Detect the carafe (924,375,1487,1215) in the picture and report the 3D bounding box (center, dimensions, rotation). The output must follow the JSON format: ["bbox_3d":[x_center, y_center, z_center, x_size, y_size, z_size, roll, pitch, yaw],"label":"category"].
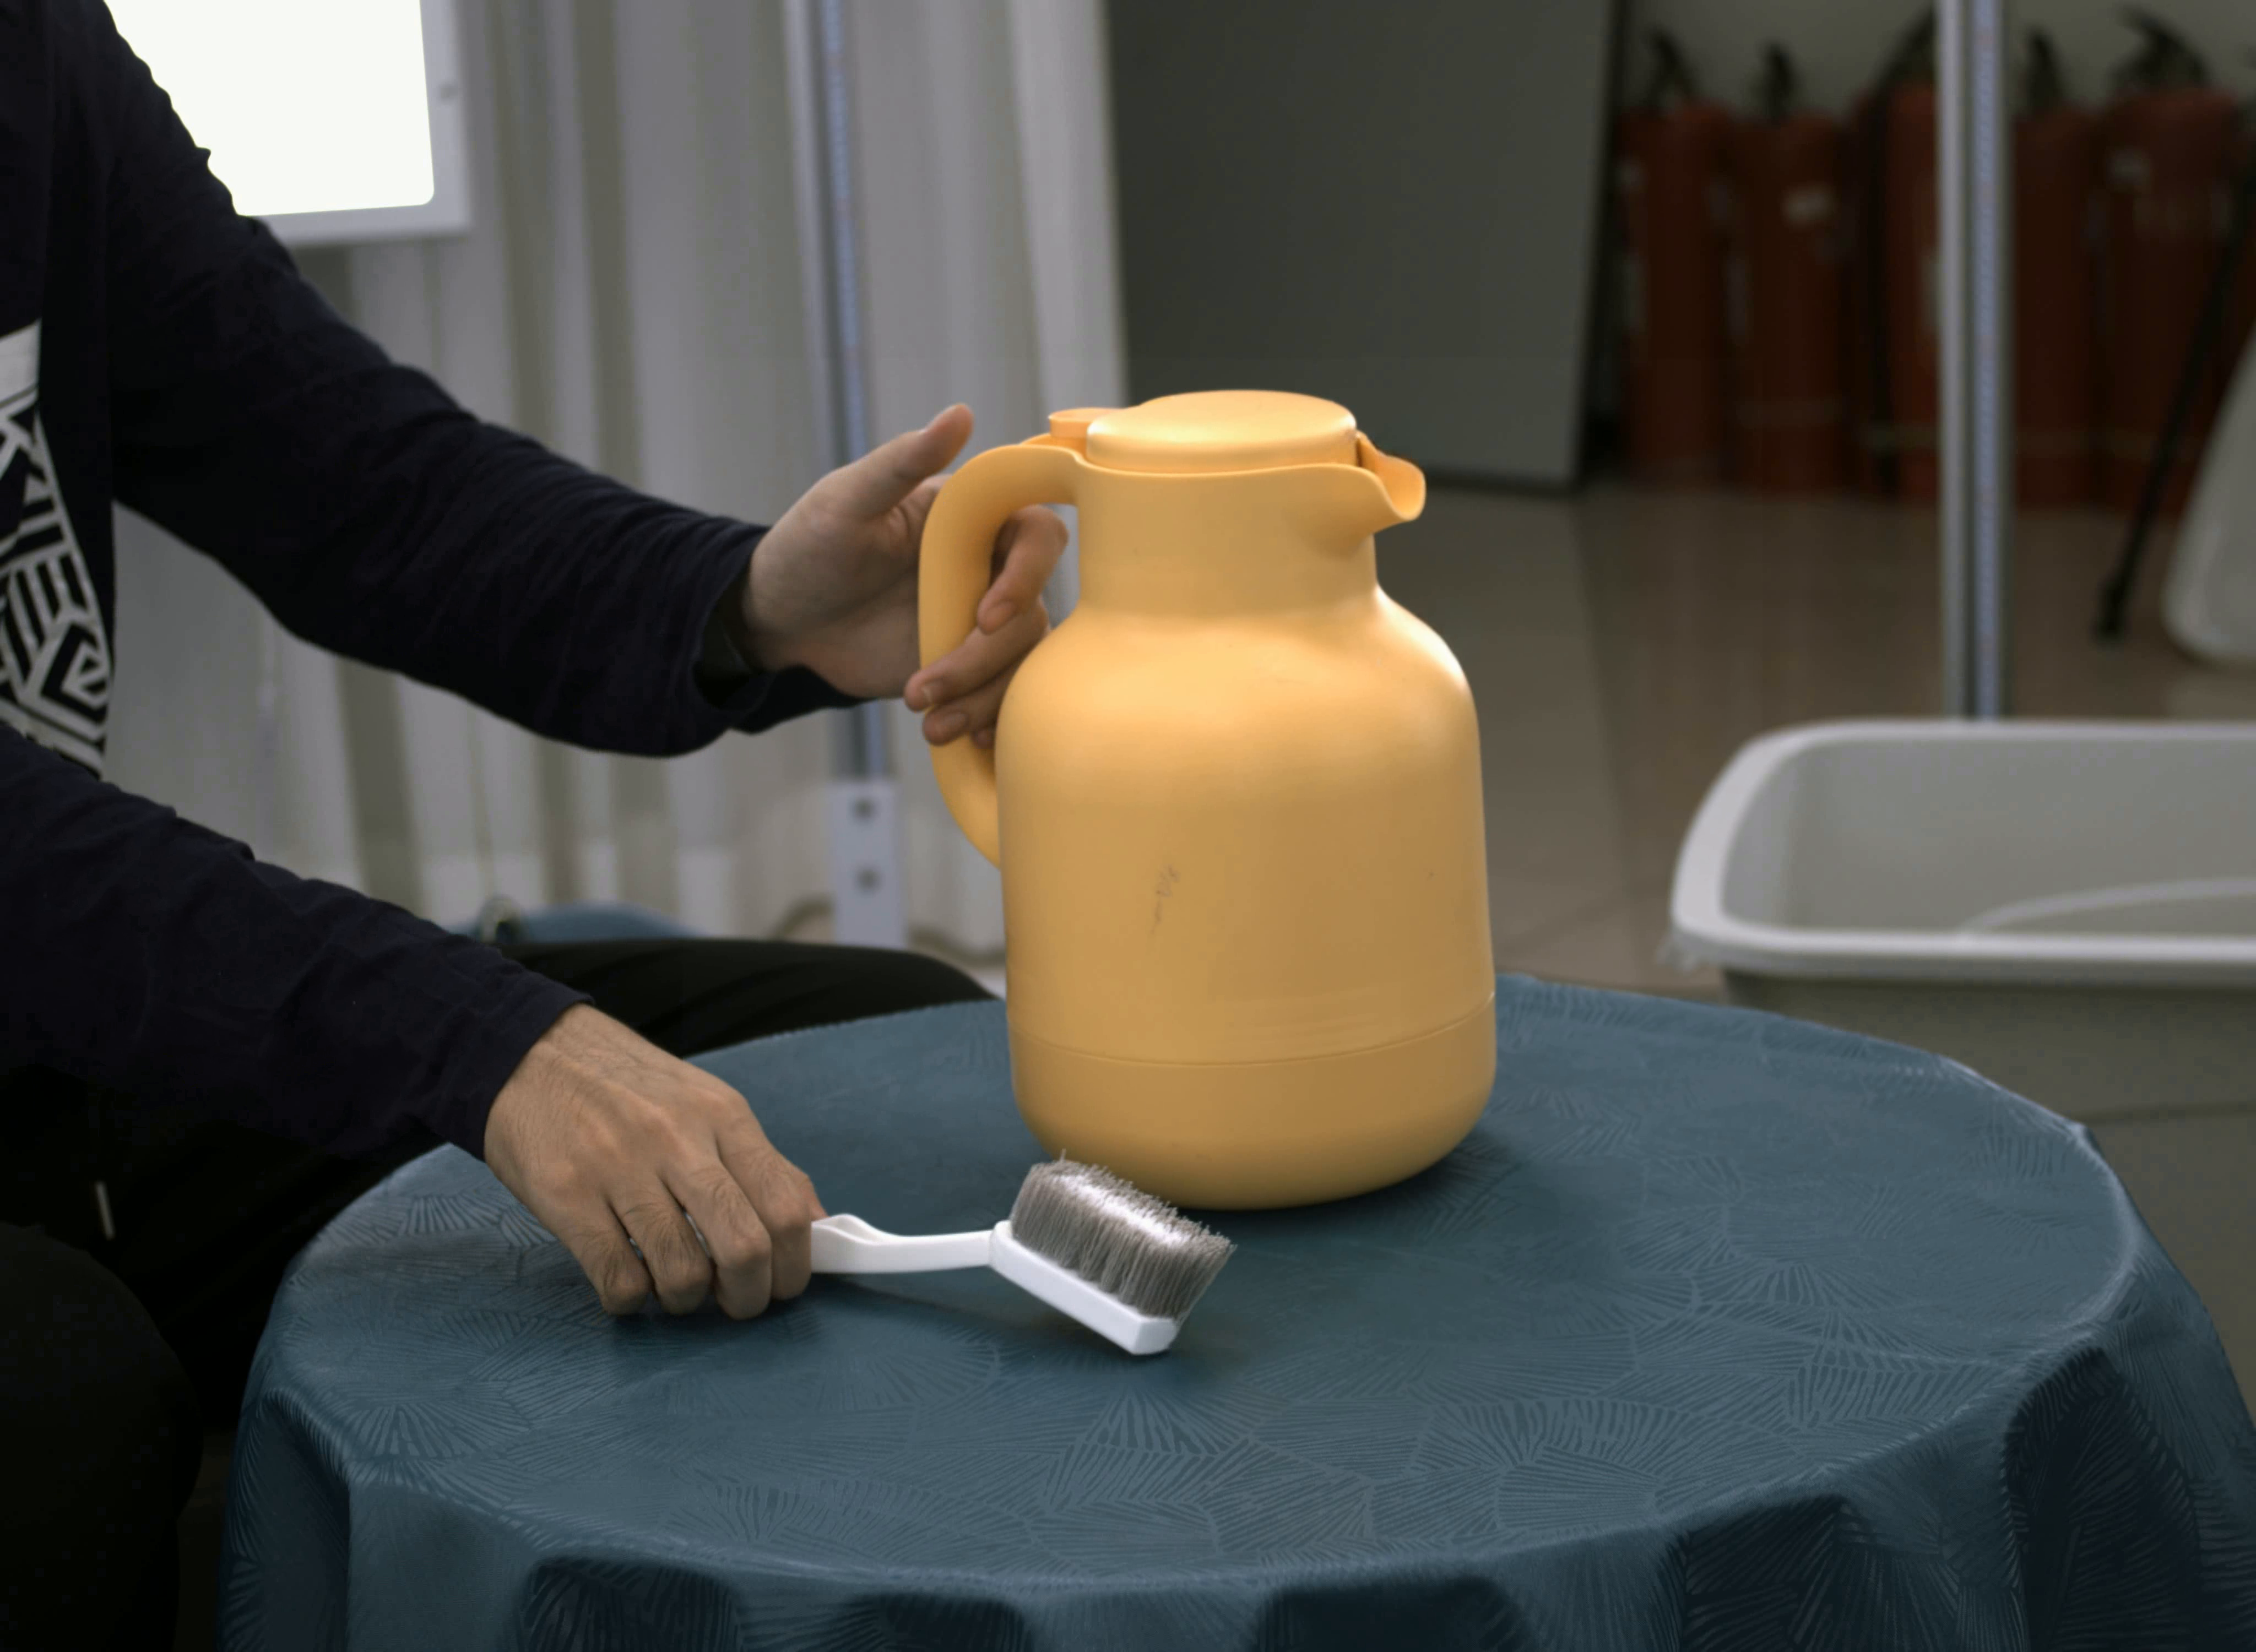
[{"bbox_3d":[0.021,-0.016,1.778,0.204,0.263,0.160,8,15,38],"label":"carafe"}]

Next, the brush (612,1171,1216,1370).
[{"bbox_3d":[-0.073,0.124,1.681,0.245,0.051,0.034,9,20,40],"label":"brush"}]
